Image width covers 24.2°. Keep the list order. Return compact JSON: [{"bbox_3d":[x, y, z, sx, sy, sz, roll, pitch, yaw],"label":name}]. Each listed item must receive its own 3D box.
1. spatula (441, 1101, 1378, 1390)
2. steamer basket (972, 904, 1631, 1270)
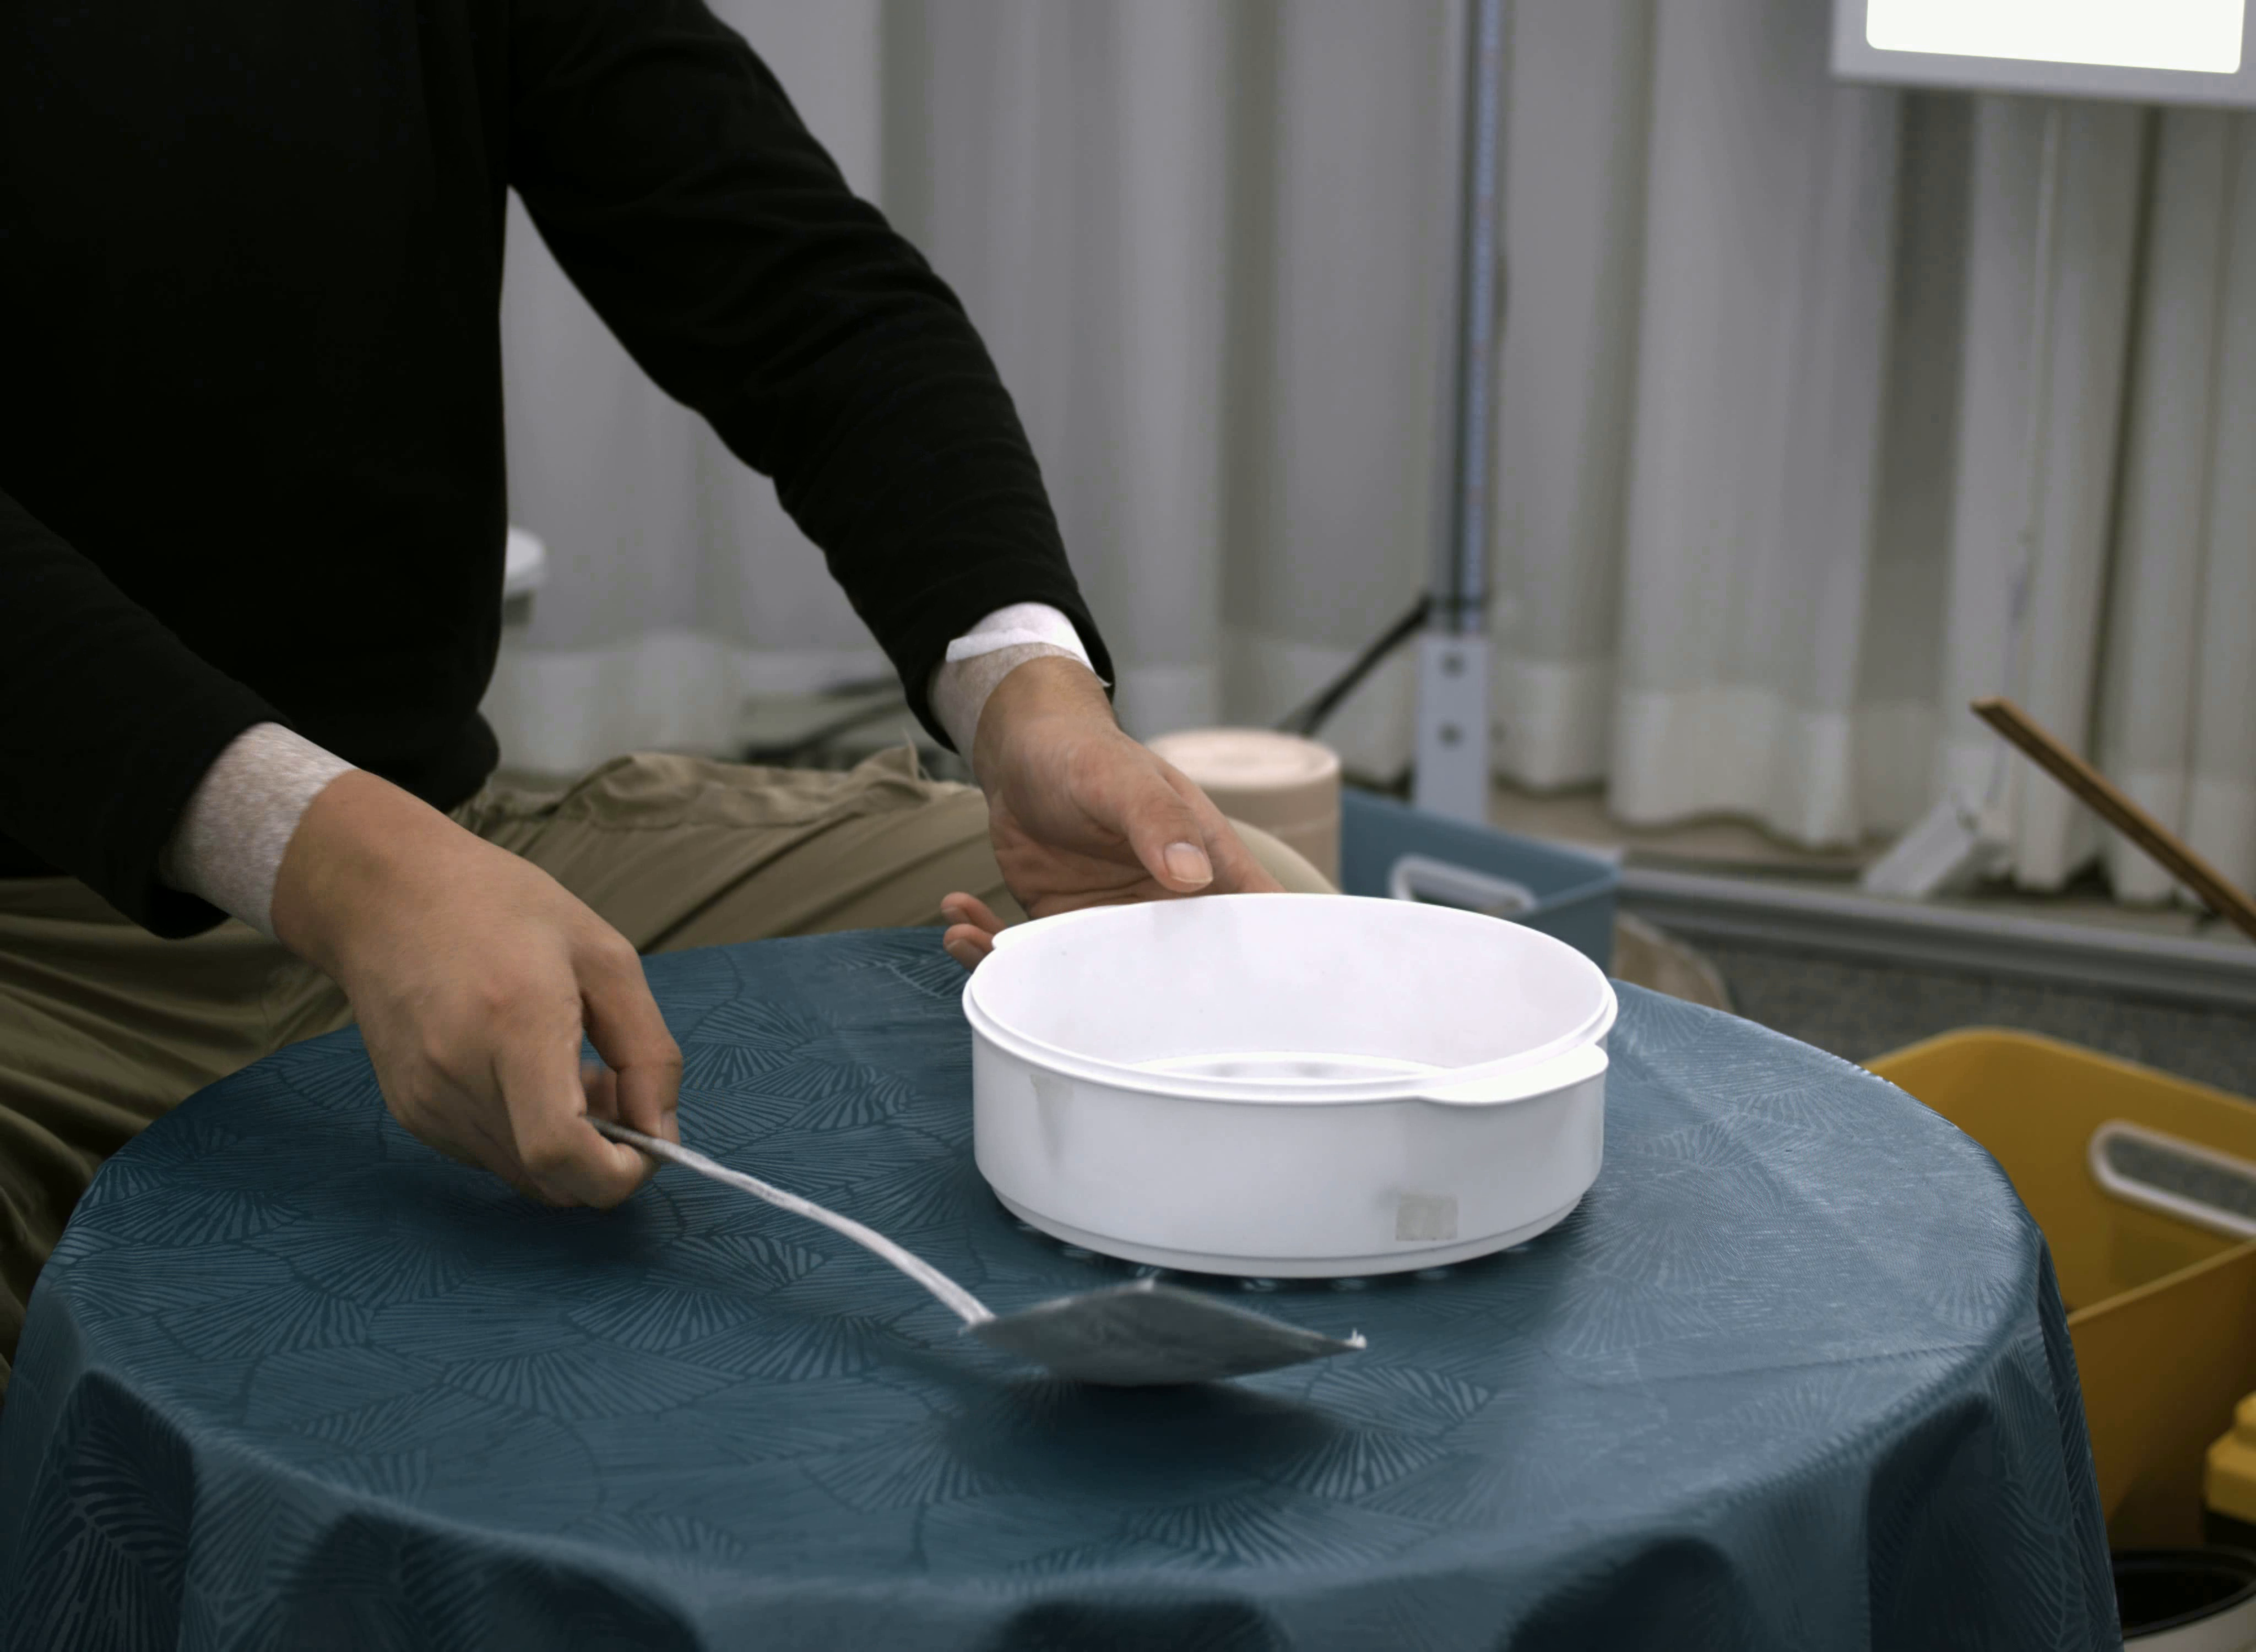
[{"bbox_3d":[-0.085,0.111,1.513,0.360,0.045,0.100,18,2,42],"label":"spatula"},{"bbox_3d":[0.052,0.079,1.610,0.203,0.070,0.227,-11,18,-40],"label":"steamer basket"}]
